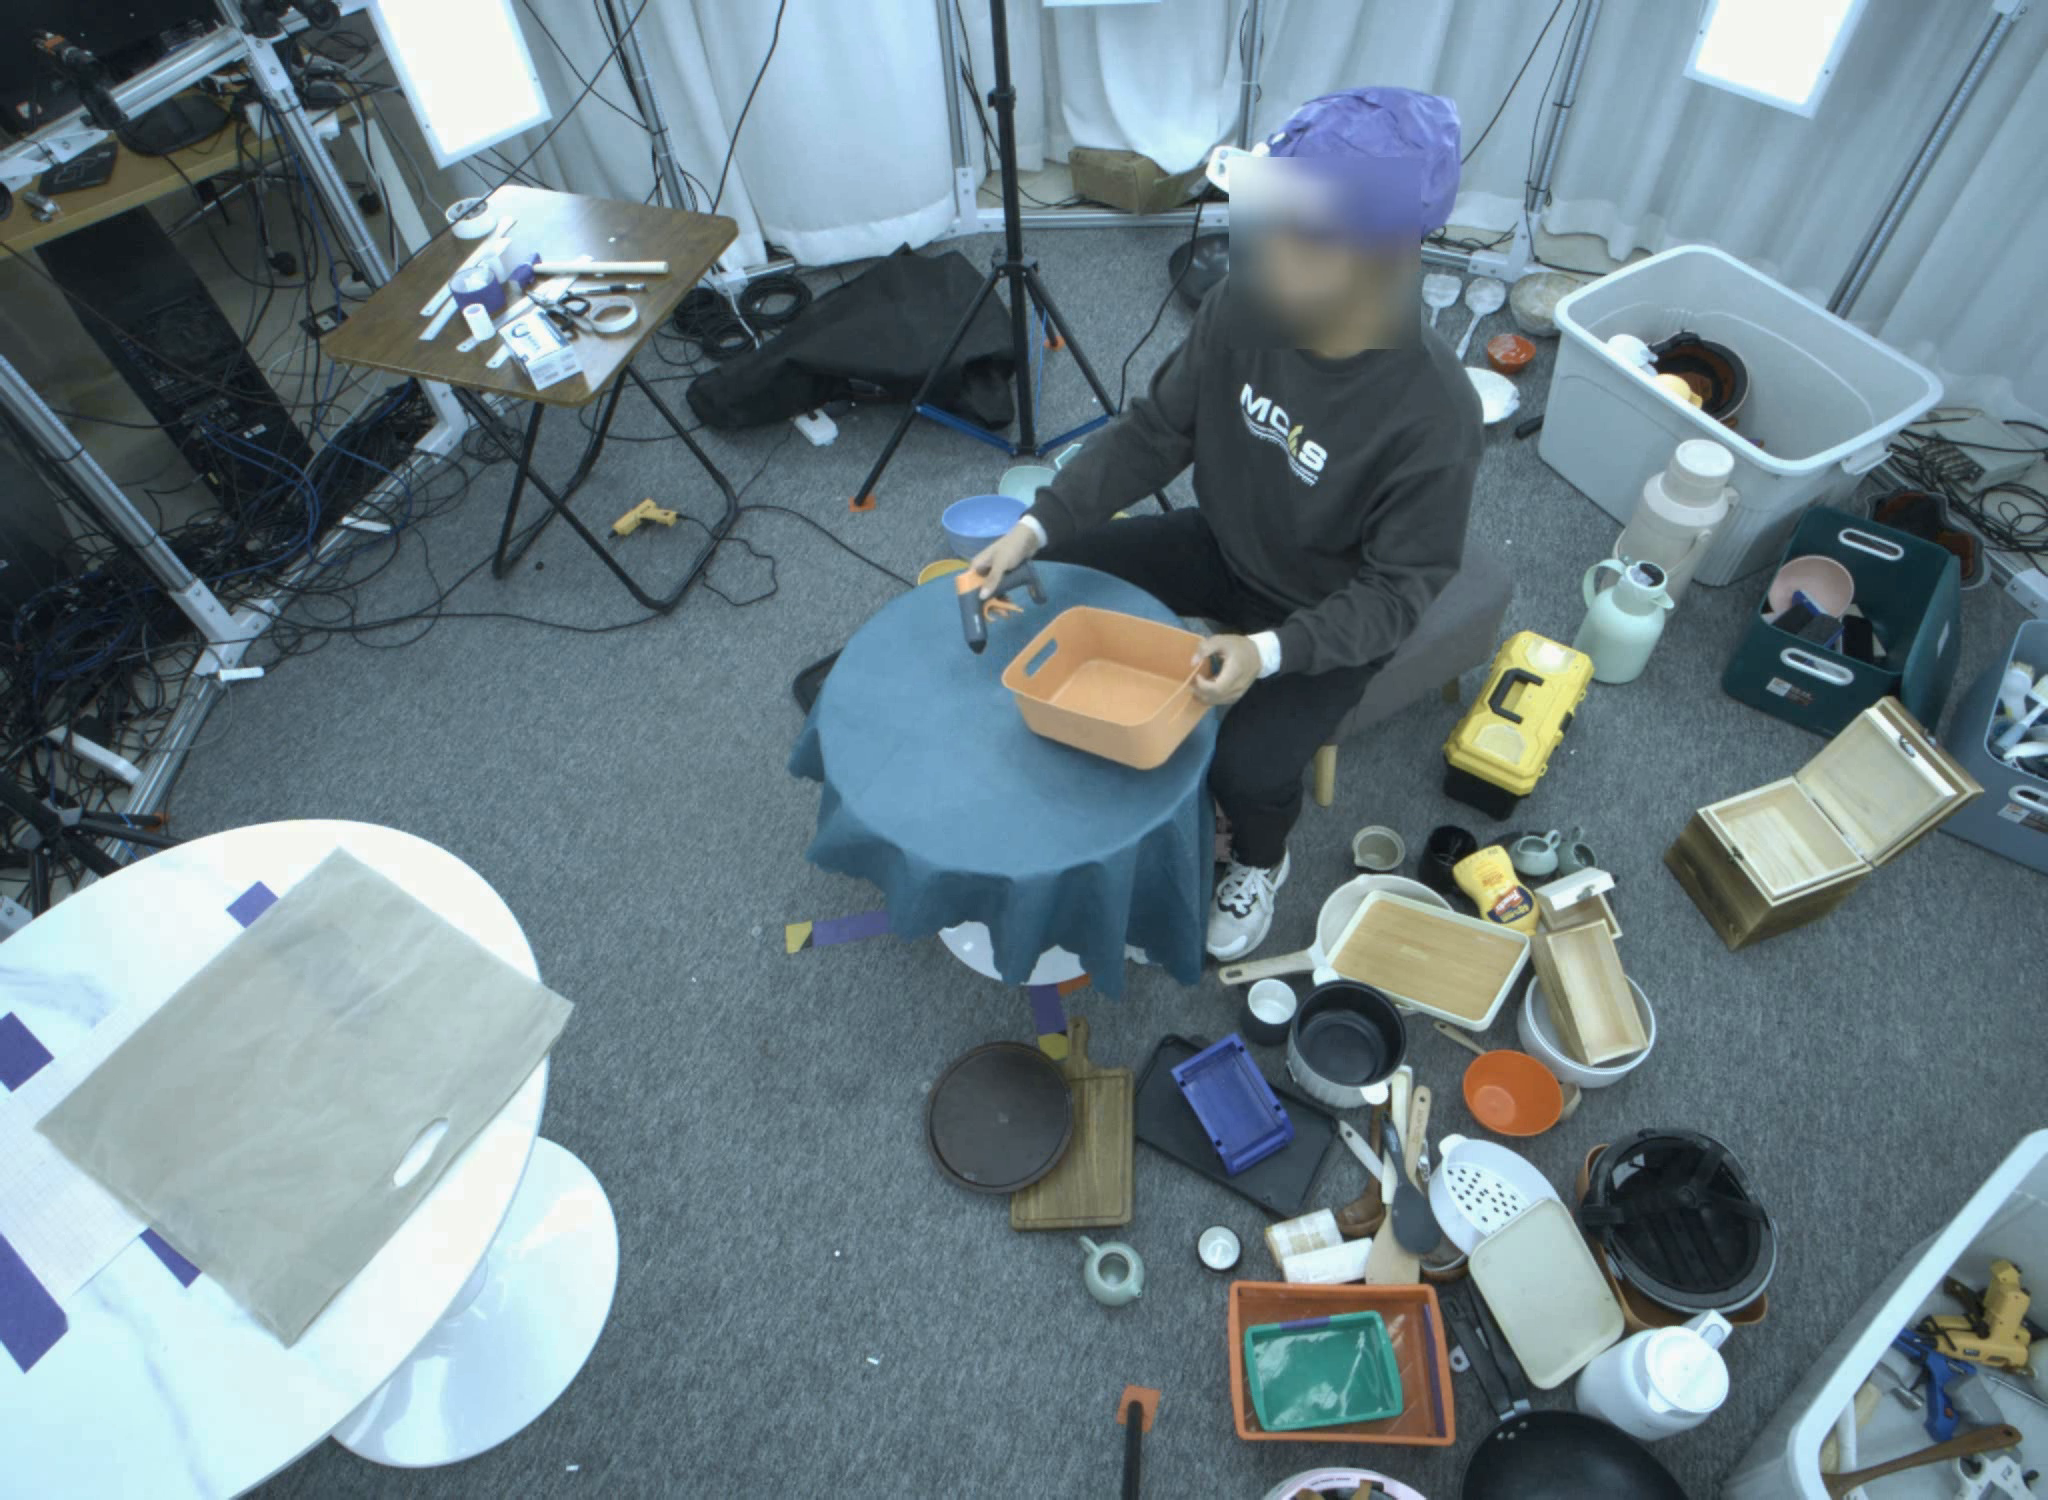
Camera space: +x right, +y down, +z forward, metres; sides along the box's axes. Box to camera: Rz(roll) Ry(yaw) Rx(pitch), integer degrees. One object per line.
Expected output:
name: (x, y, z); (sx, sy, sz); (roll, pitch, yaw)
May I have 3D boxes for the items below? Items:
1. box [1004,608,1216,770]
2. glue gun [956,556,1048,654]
box: (0.128, -0.087, 1.743); (0.267, 0.104, 0.200); (20, 55, 37)
glue gun: (-0.039, -0.223, 1.838); (0.141, 0.119, 0.040); (-29, 18, -18)
